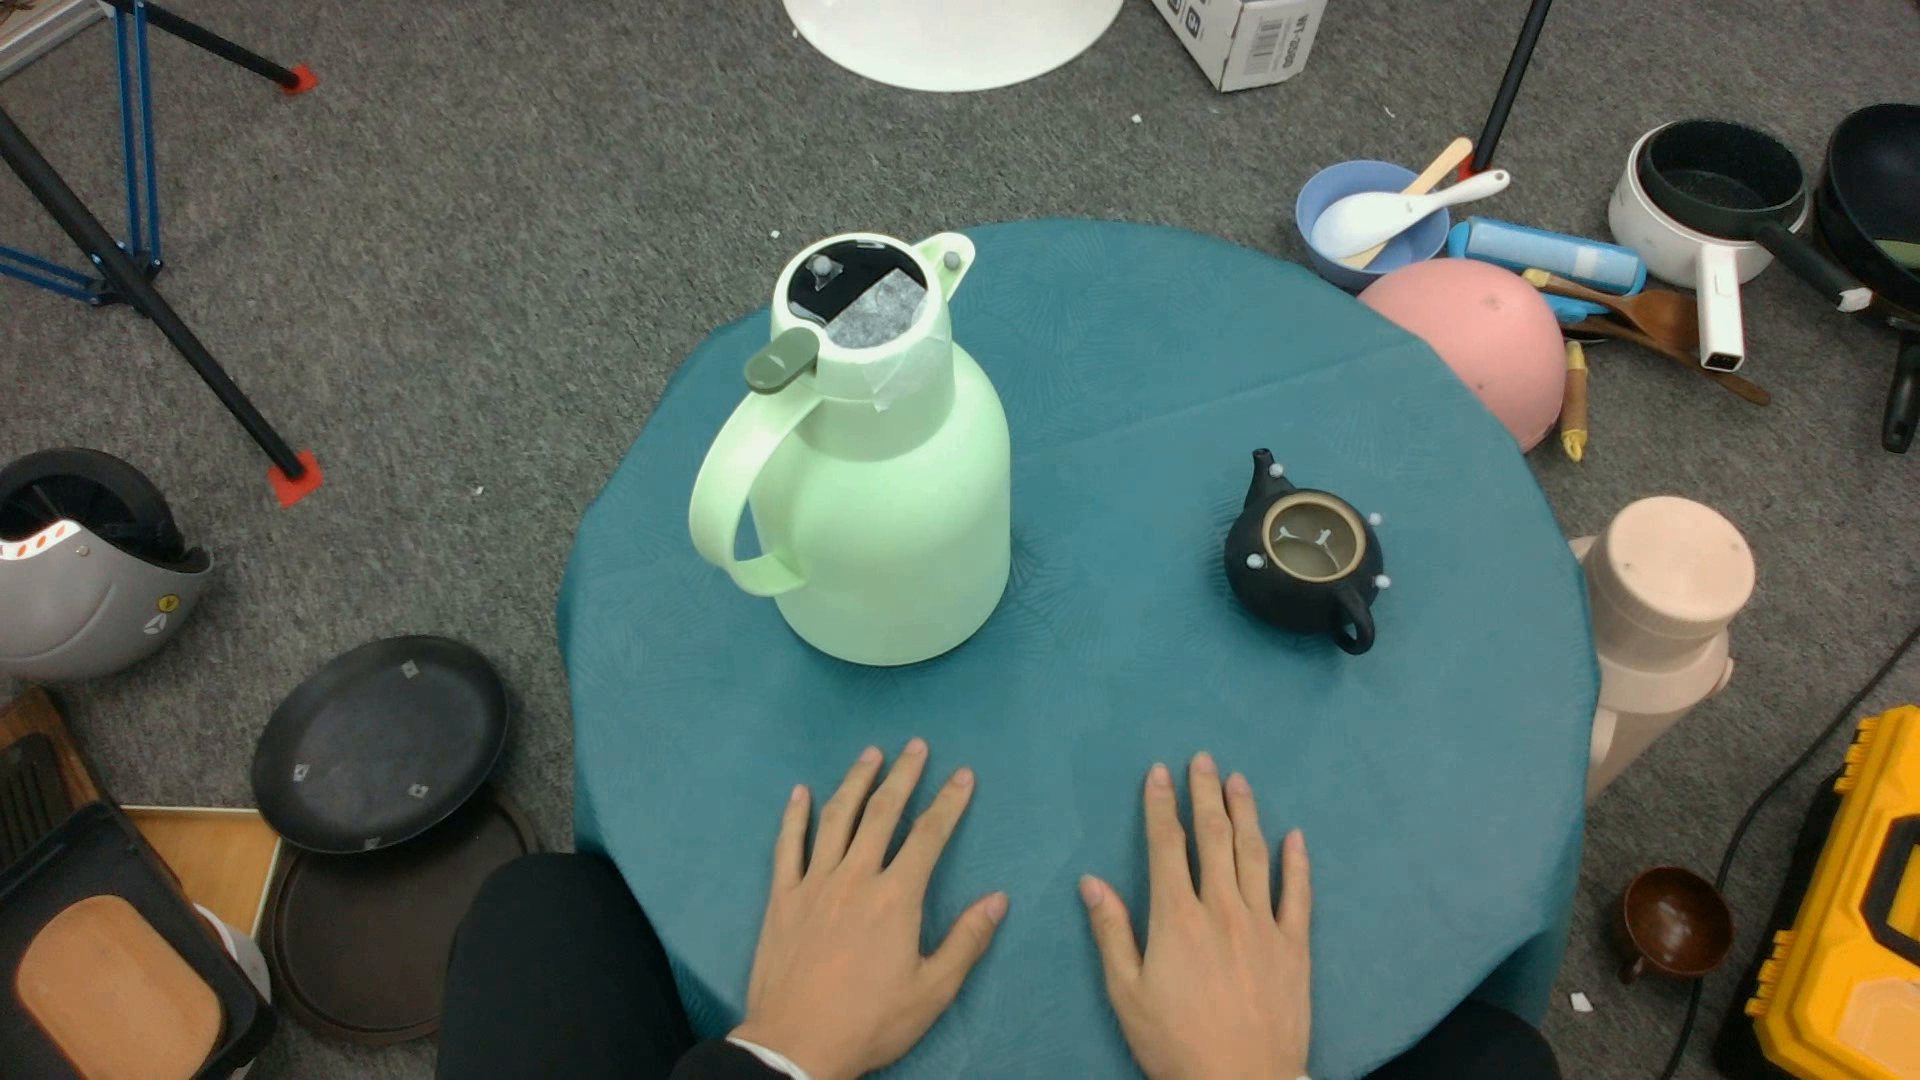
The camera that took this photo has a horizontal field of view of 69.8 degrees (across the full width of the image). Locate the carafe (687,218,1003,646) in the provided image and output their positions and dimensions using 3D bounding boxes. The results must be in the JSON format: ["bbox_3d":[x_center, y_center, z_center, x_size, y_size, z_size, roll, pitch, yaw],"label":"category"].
[{"bbox_3d":[-0.057,-0.045,0.716,0.144,0.256,0.187,36,70,18],"label":"carafe"}]

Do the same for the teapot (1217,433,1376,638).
[{"bbox_3d":[0.196,0.002,0.800,0.091,0.053,0.133,-21,62,-9],"label":"teapot"}]
